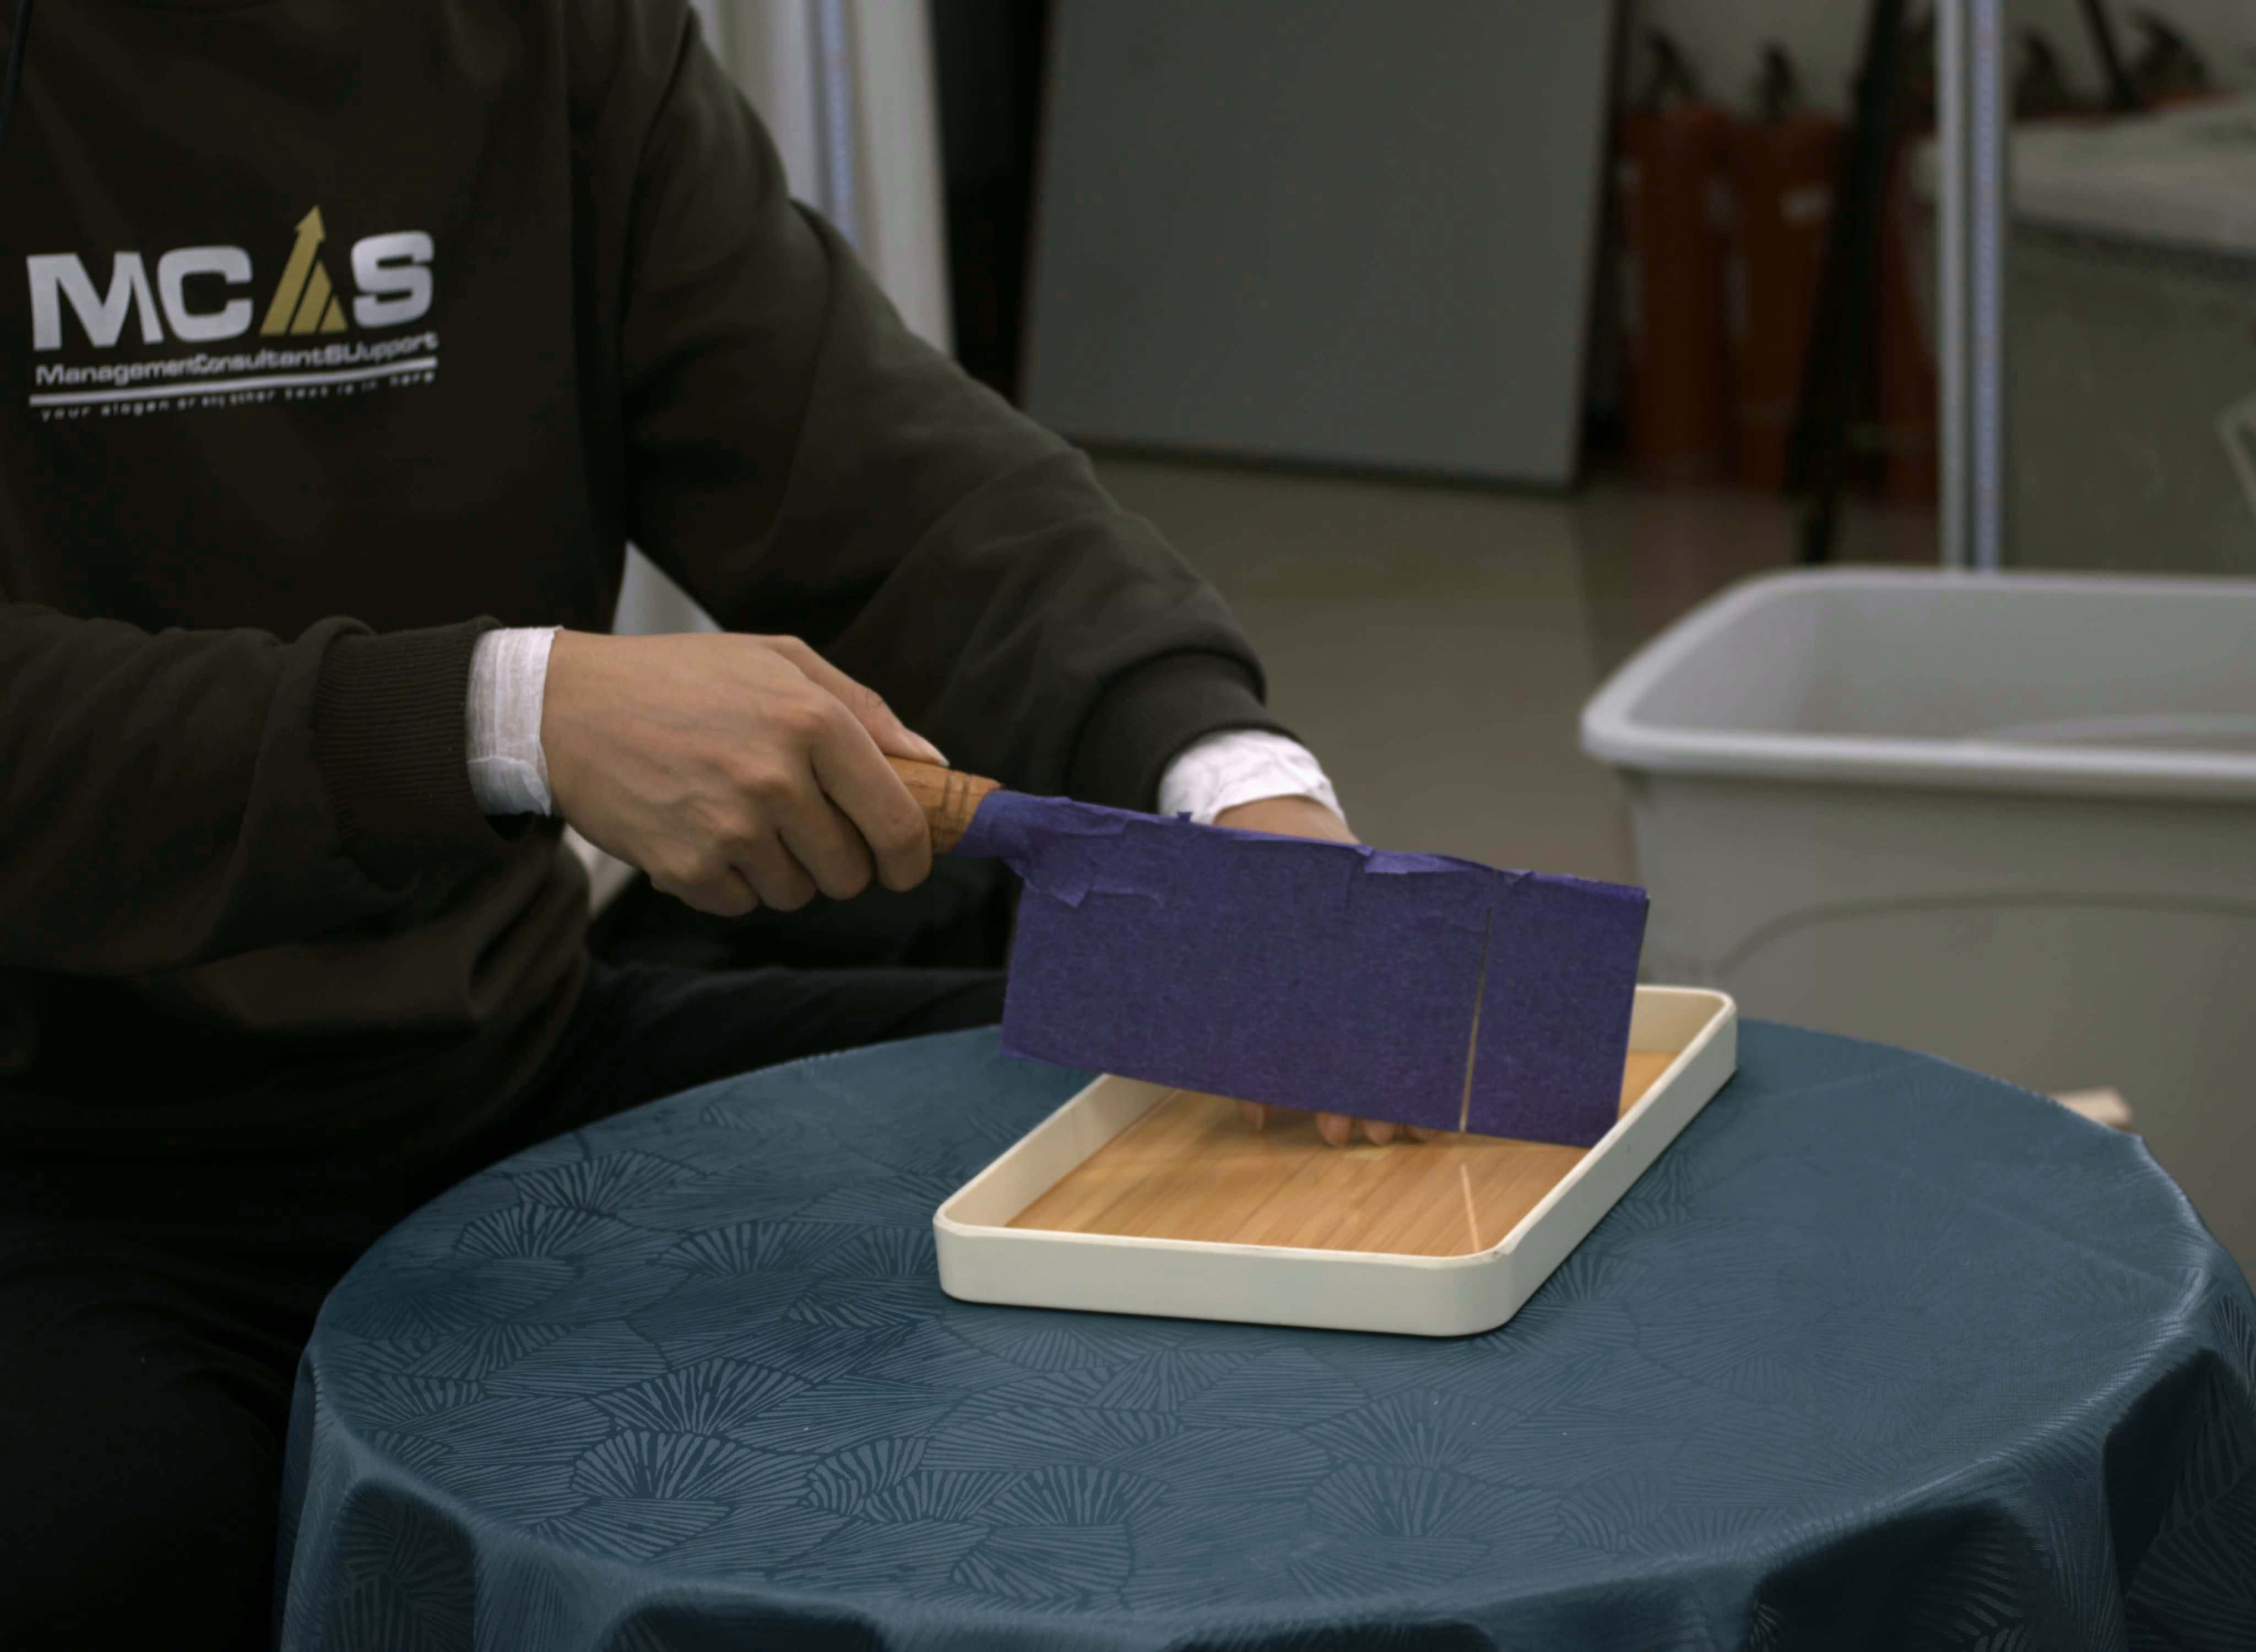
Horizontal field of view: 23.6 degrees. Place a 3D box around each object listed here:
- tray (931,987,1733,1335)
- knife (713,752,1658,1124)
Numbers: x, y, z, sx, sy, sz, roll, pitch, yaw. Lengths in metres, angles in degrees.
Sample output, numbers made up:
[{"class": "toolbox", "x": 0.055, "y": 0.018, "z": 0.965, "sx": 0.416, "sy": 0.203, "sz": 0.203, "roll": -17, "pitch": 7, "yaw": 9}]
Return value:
[{"class": "tray", "x": 0.074, "y": 0.103, "z": 1.769, "sx": 0.191, "sy": 0.028, "sz": 0.297, "roll": 1, "pitch": 14, "yaw": 22}, {"class": "knife", "x": 0.015, "y": 0.039, "z": 1.765, "sx": 0.312, "sy": 0.105, "sz": 0.032, "roll": 8, "pitch": 8, "yaw": 6}]
